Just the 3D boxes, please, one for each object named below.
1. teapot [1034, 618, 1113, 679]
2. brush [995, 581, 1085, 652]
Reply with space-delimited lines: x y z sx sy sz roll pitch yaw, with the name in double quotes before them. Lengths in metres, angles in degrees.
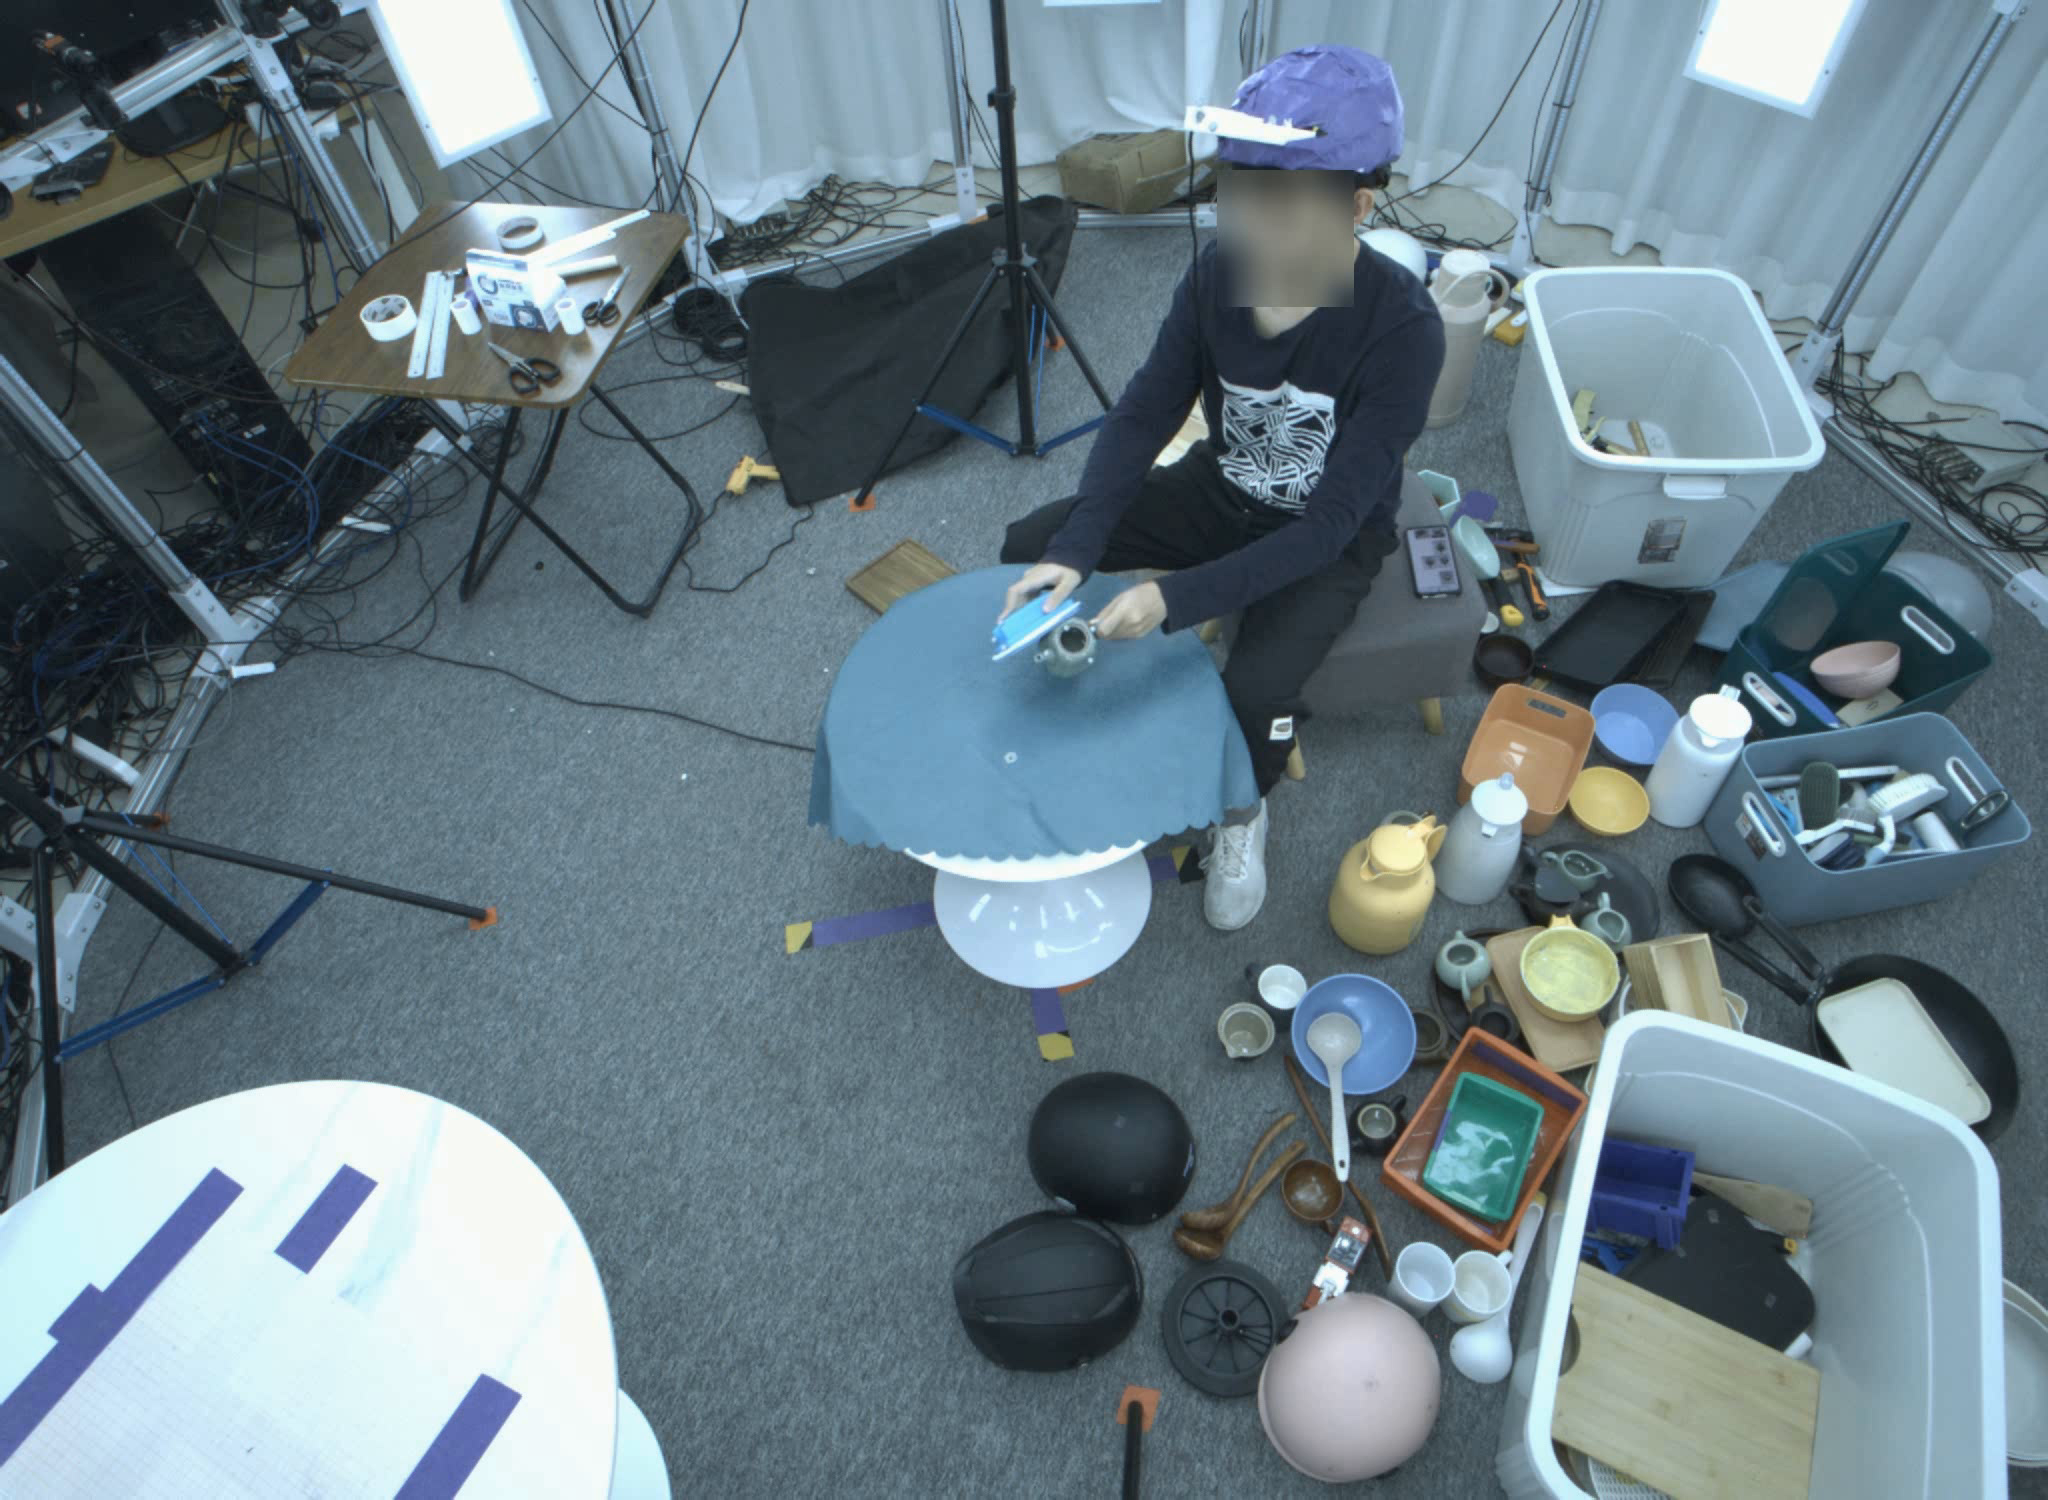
"teapot" 0.066 -0.151 1.775 0.133 0.075 0.079 -29 87 -14
"brush" 0.016 -0.196 1.769 0.145 0.082 0.056 -38 102 -19
